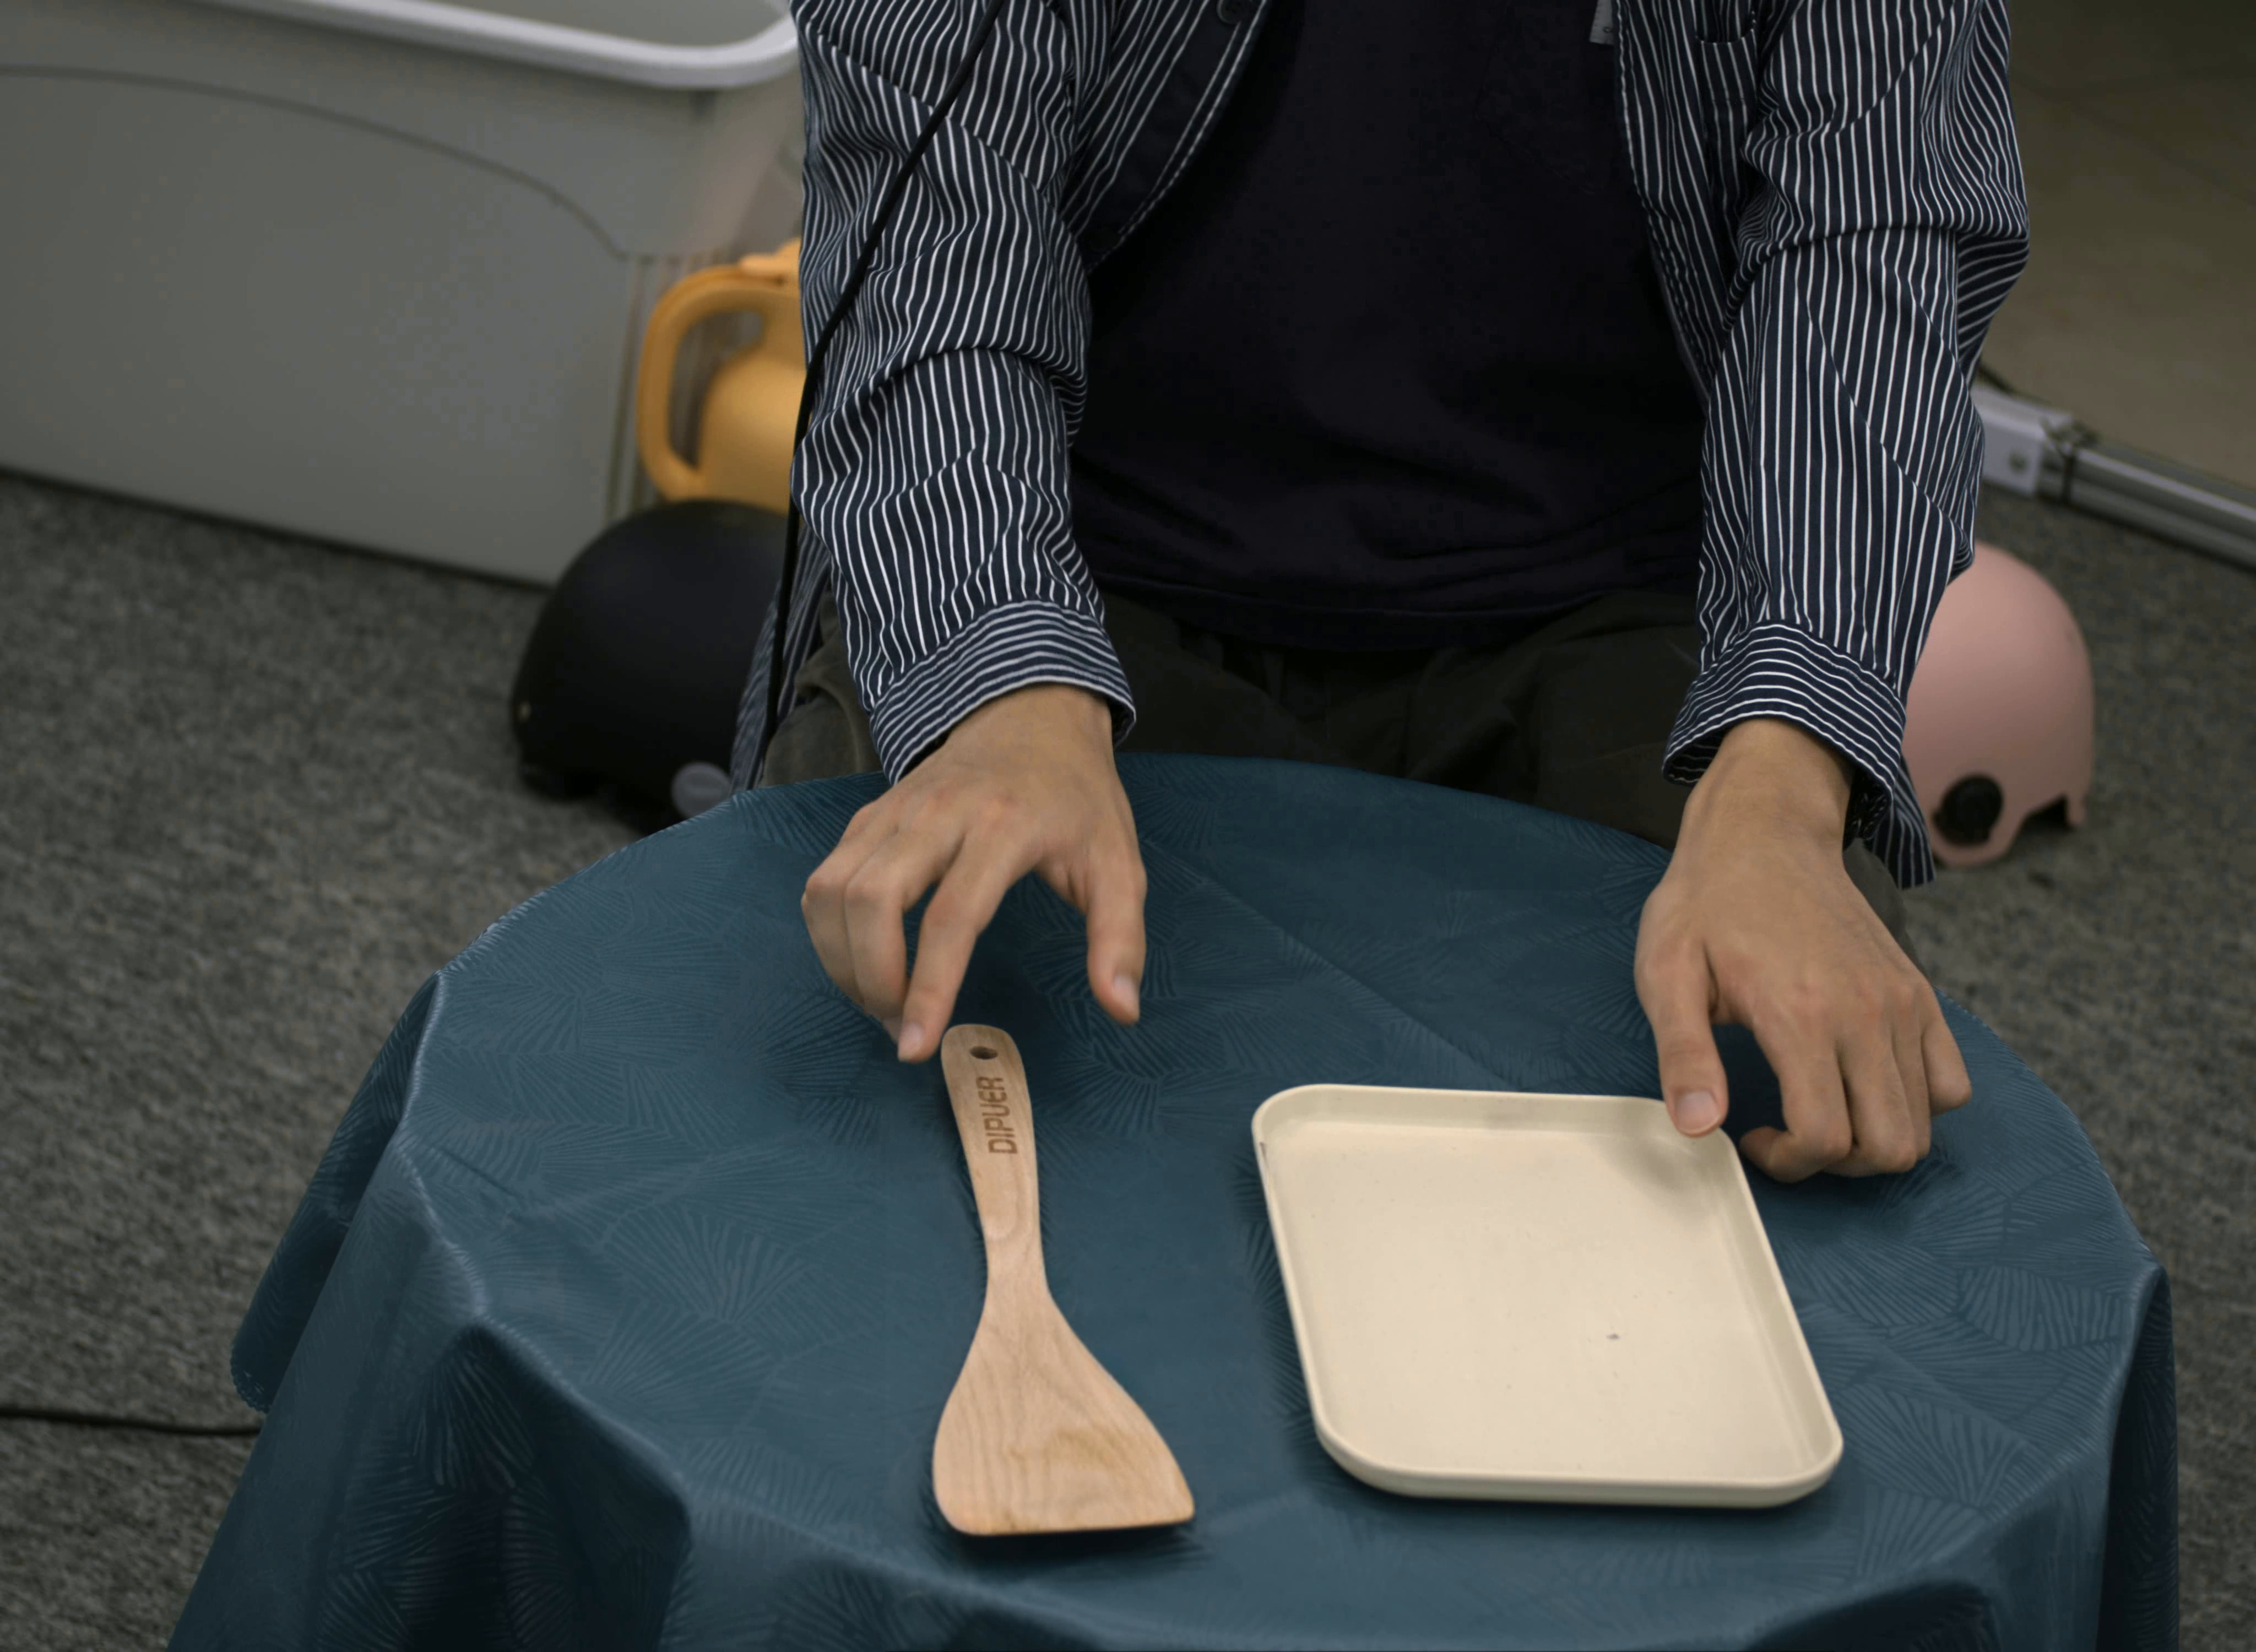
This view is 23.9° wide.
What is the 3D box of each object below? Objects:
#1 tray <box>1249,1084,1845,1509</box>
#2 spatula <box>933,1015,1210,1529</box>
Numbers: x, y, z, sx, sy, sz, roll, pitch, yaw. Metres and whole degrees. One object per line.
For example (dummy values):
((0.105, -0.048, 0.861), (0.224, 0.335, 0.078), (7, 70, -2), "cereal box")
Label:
((0.133, 0.154, 1.749), (0.170, 0.017, 0.241), (3, 27, -7), "tray")
((-0.033, 0.141, 1.738), (0.079, 0.016, 0.330), (2, 27, -10), "spatula")
